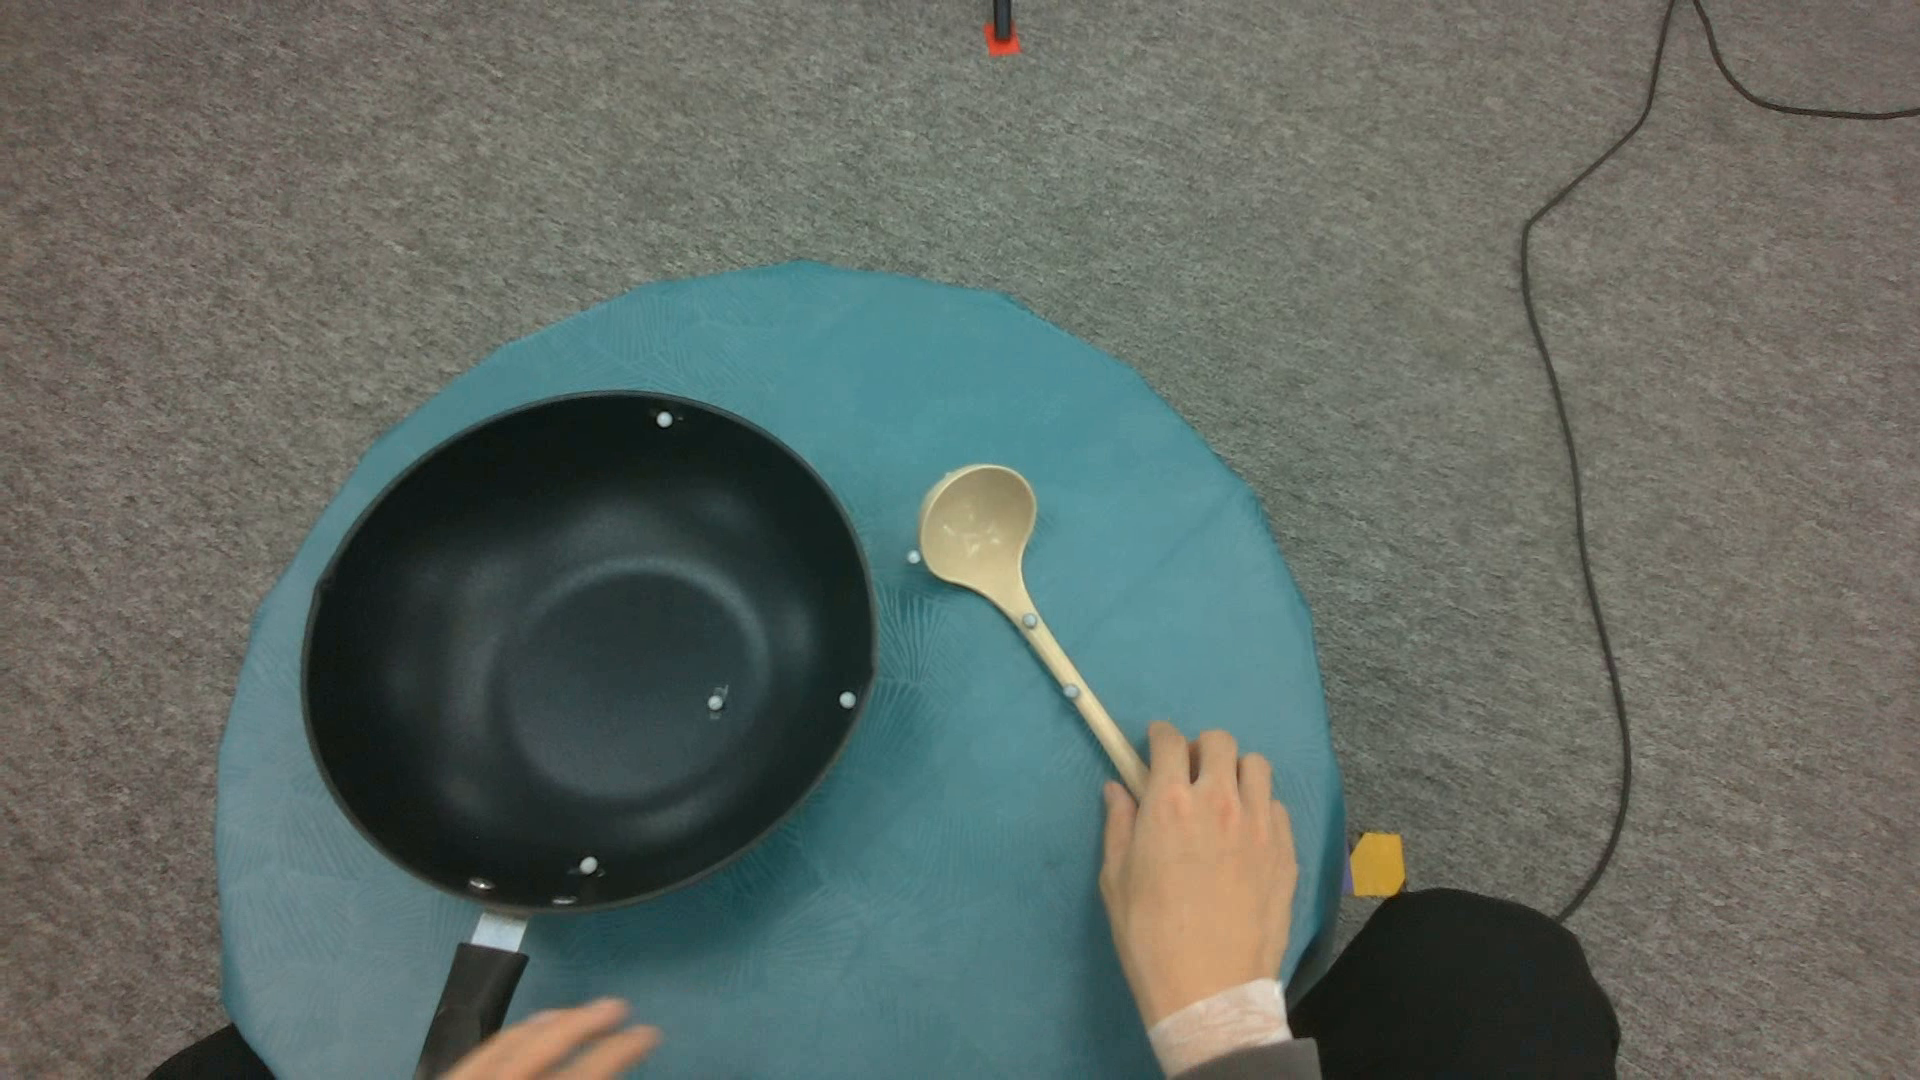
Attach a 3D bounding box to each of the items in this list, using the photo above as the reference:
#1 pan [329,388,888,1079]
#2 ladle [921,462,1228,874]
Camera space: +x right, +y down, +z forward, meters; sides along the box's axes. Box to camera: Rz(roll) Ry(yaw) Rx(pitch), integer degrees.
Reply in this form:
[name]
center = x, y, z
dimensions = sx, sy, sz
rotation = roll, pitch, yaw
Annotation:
[pan]
center = -0.196, 0.141, 0.697
dimensions = 0.288, 0.086, 0.465
rotation = 10, 66, 5
[ladle]
center = 0.068, 0.064, 0.738
dimensions = 0.072, 0.072, 0.255
rotation = -30, 67, -19
